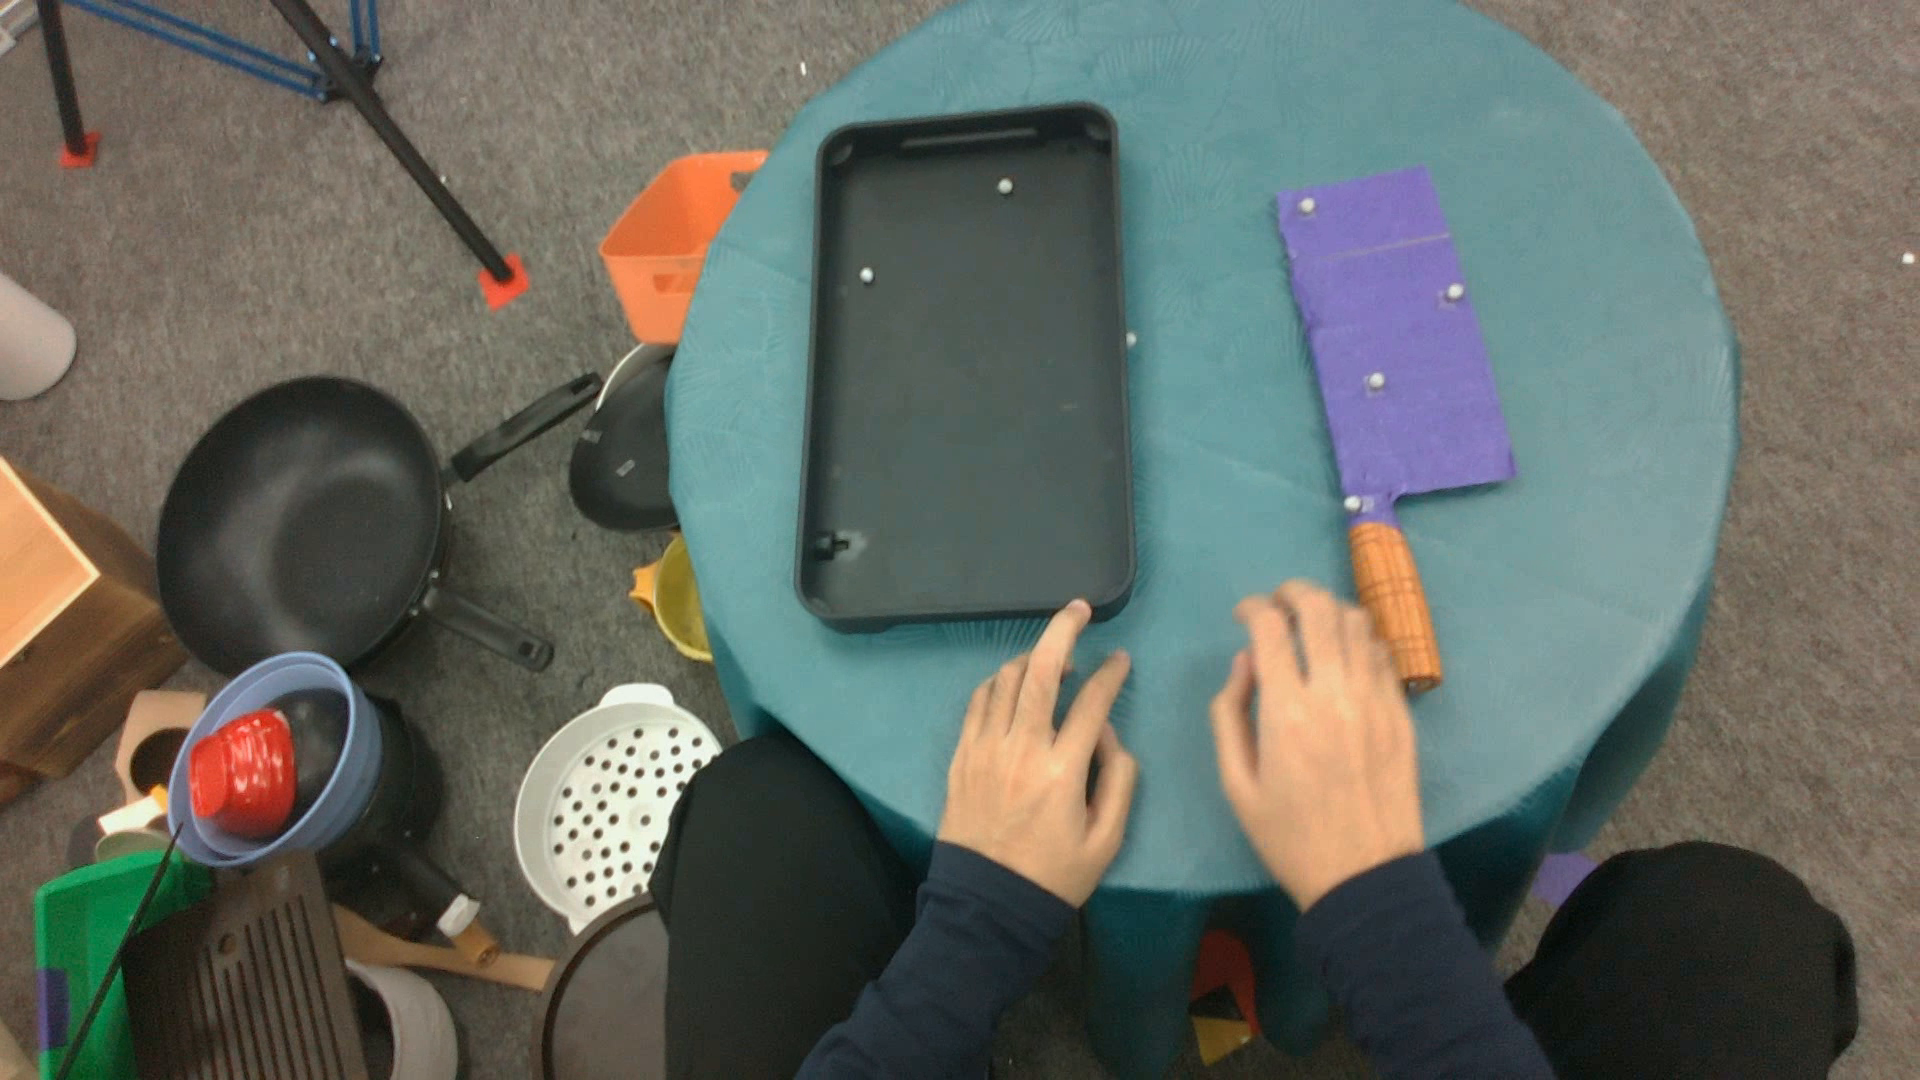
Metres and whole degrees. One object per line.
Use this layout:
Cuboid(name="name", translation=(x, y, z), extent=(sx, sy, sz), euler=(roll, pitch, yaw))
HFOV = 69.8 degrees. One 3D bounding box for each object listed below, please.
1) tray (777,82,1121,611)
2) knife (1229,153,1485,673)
Cuboid(name="tray", translation=(-0.010, -0.117, 0.792), extent=(0.184, 0.037, 0.319), euler=(-4, 69, 5))
Cuboid(name="knife", translation=(0.229, -0.085, 0.751), extent=(0.104, 0.032, 0.316), euler=(-10, 67, 4))
